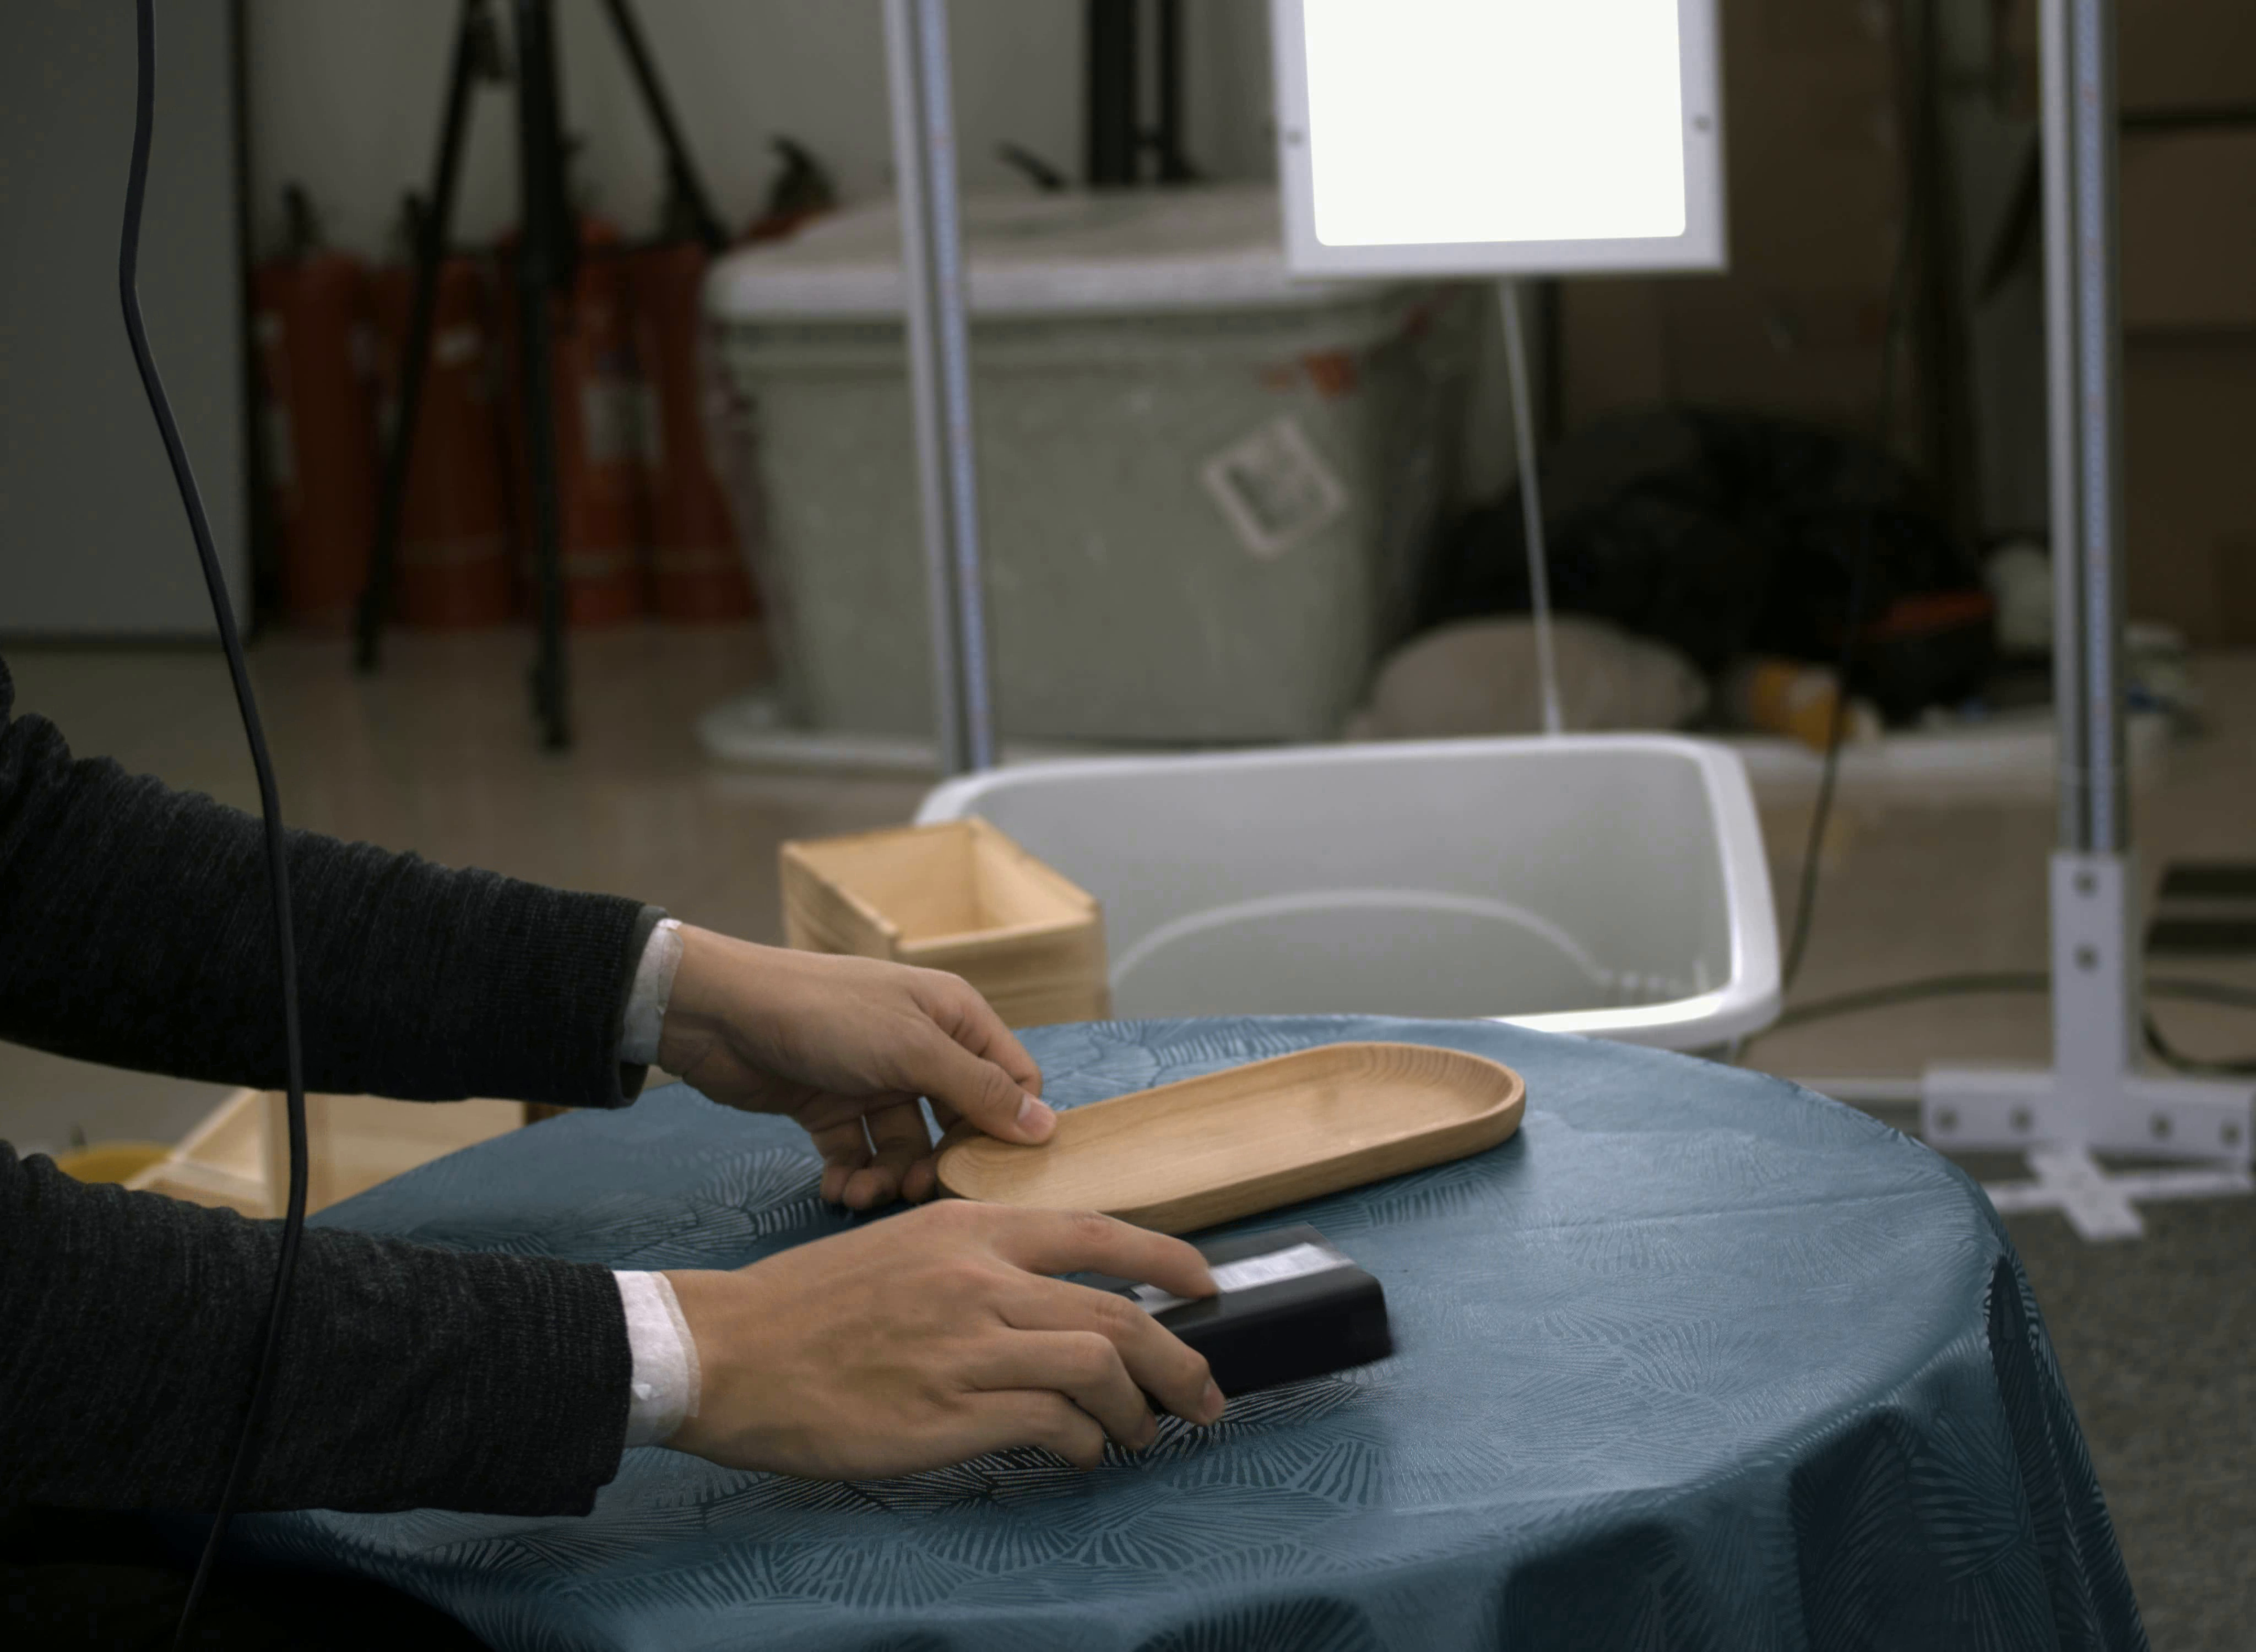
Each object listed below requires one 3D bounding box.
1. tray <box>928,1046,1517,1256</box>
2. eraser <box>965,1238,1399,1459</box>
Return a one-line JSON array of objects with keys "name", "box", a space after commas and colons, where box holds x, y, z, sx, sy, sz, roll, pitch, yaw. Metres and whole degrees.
[{"name": "tray", "box": [0.035, 0.111, 1.900, 0.225, 0.020, 0.104, -15, 18, -33]}, {"name": "eraser", "box": [0.017, 0.156, 1.666, 0.123, 0.030, 0.054, -12, 22, -23]}]
